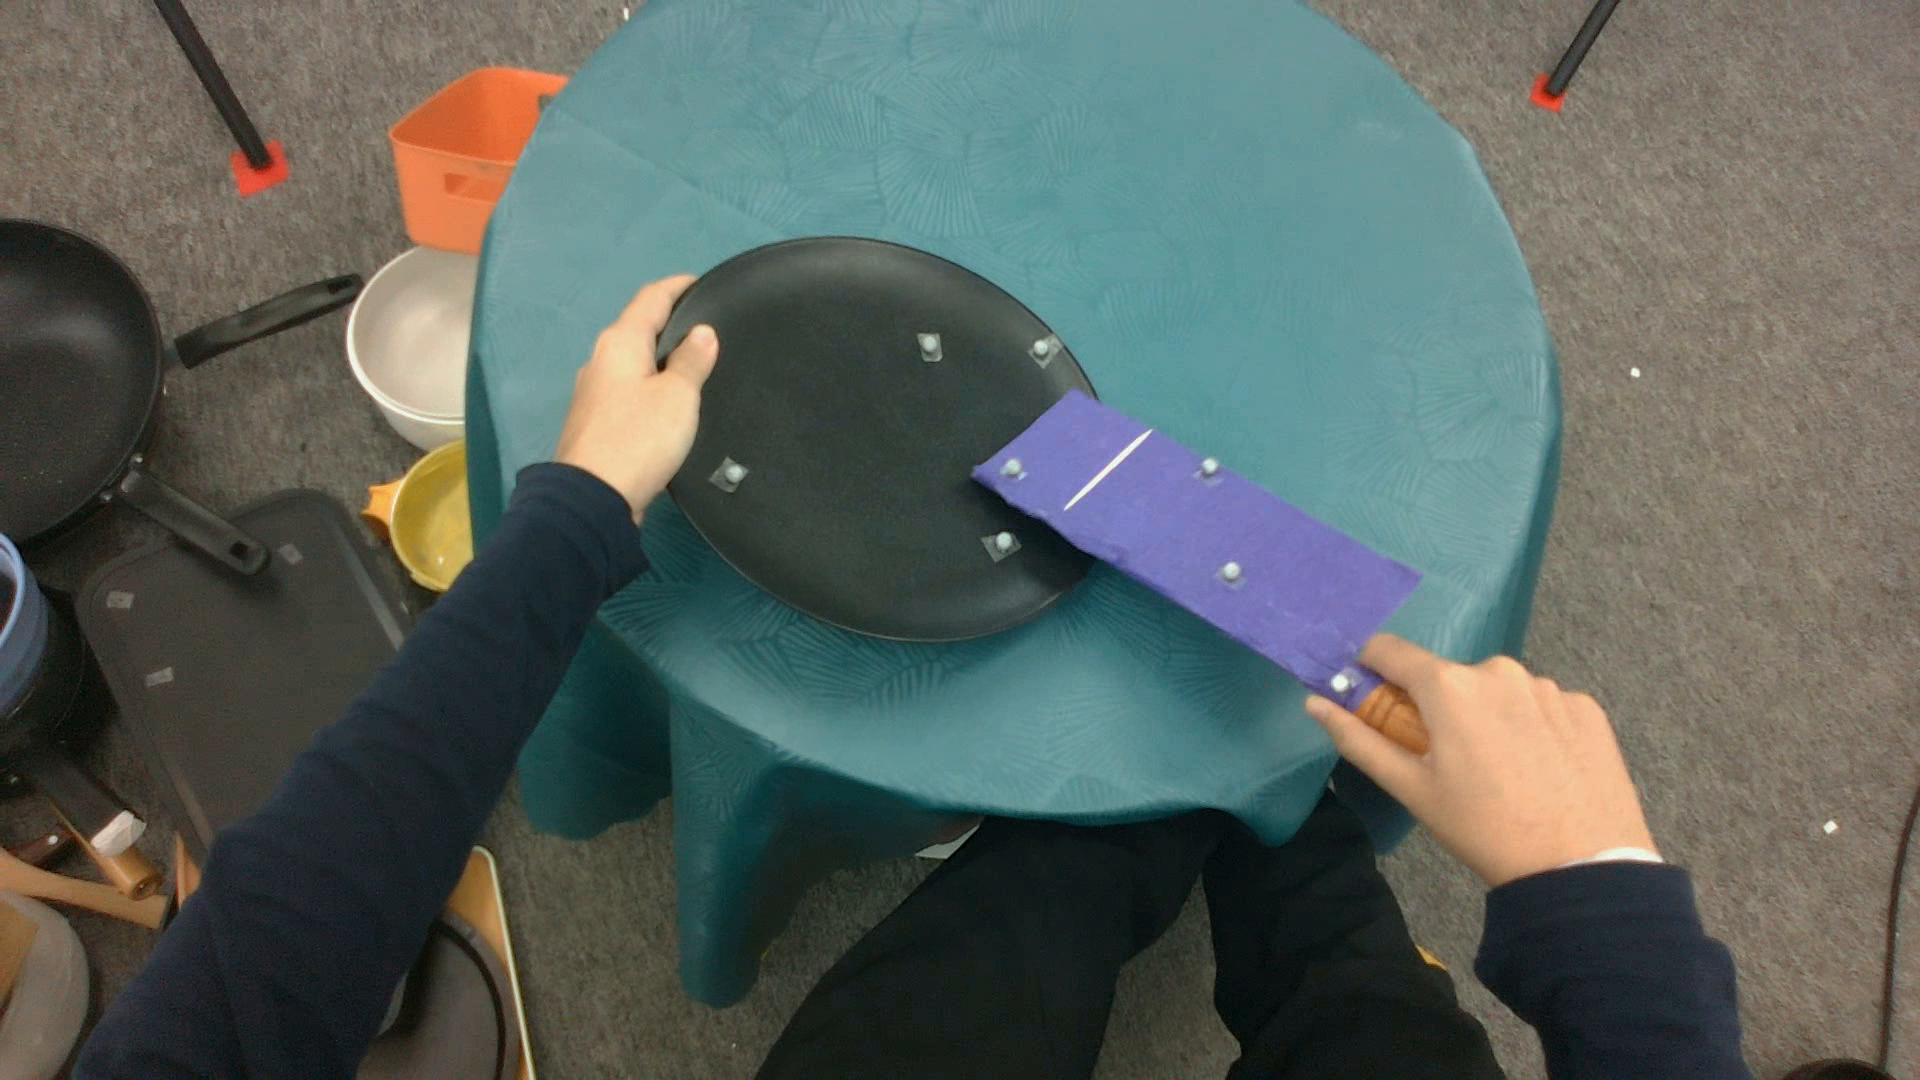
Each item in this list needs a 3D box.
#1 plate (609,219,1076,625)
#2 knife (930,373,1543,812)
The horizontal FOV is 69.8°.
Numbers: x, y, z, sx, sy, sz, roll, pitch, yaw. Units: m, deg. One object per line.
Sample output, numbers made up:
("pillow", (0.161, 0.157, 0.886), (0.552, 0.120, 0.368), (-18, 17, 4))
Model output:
("plate", (-0.051, -0.061, 0.687), (0.244, 0.023, 0.245), (11, 55, -17))
("knife", (0.134, 0.005, 0.645), (0.315, 0.032, 0.104), (34, 56, 24))
